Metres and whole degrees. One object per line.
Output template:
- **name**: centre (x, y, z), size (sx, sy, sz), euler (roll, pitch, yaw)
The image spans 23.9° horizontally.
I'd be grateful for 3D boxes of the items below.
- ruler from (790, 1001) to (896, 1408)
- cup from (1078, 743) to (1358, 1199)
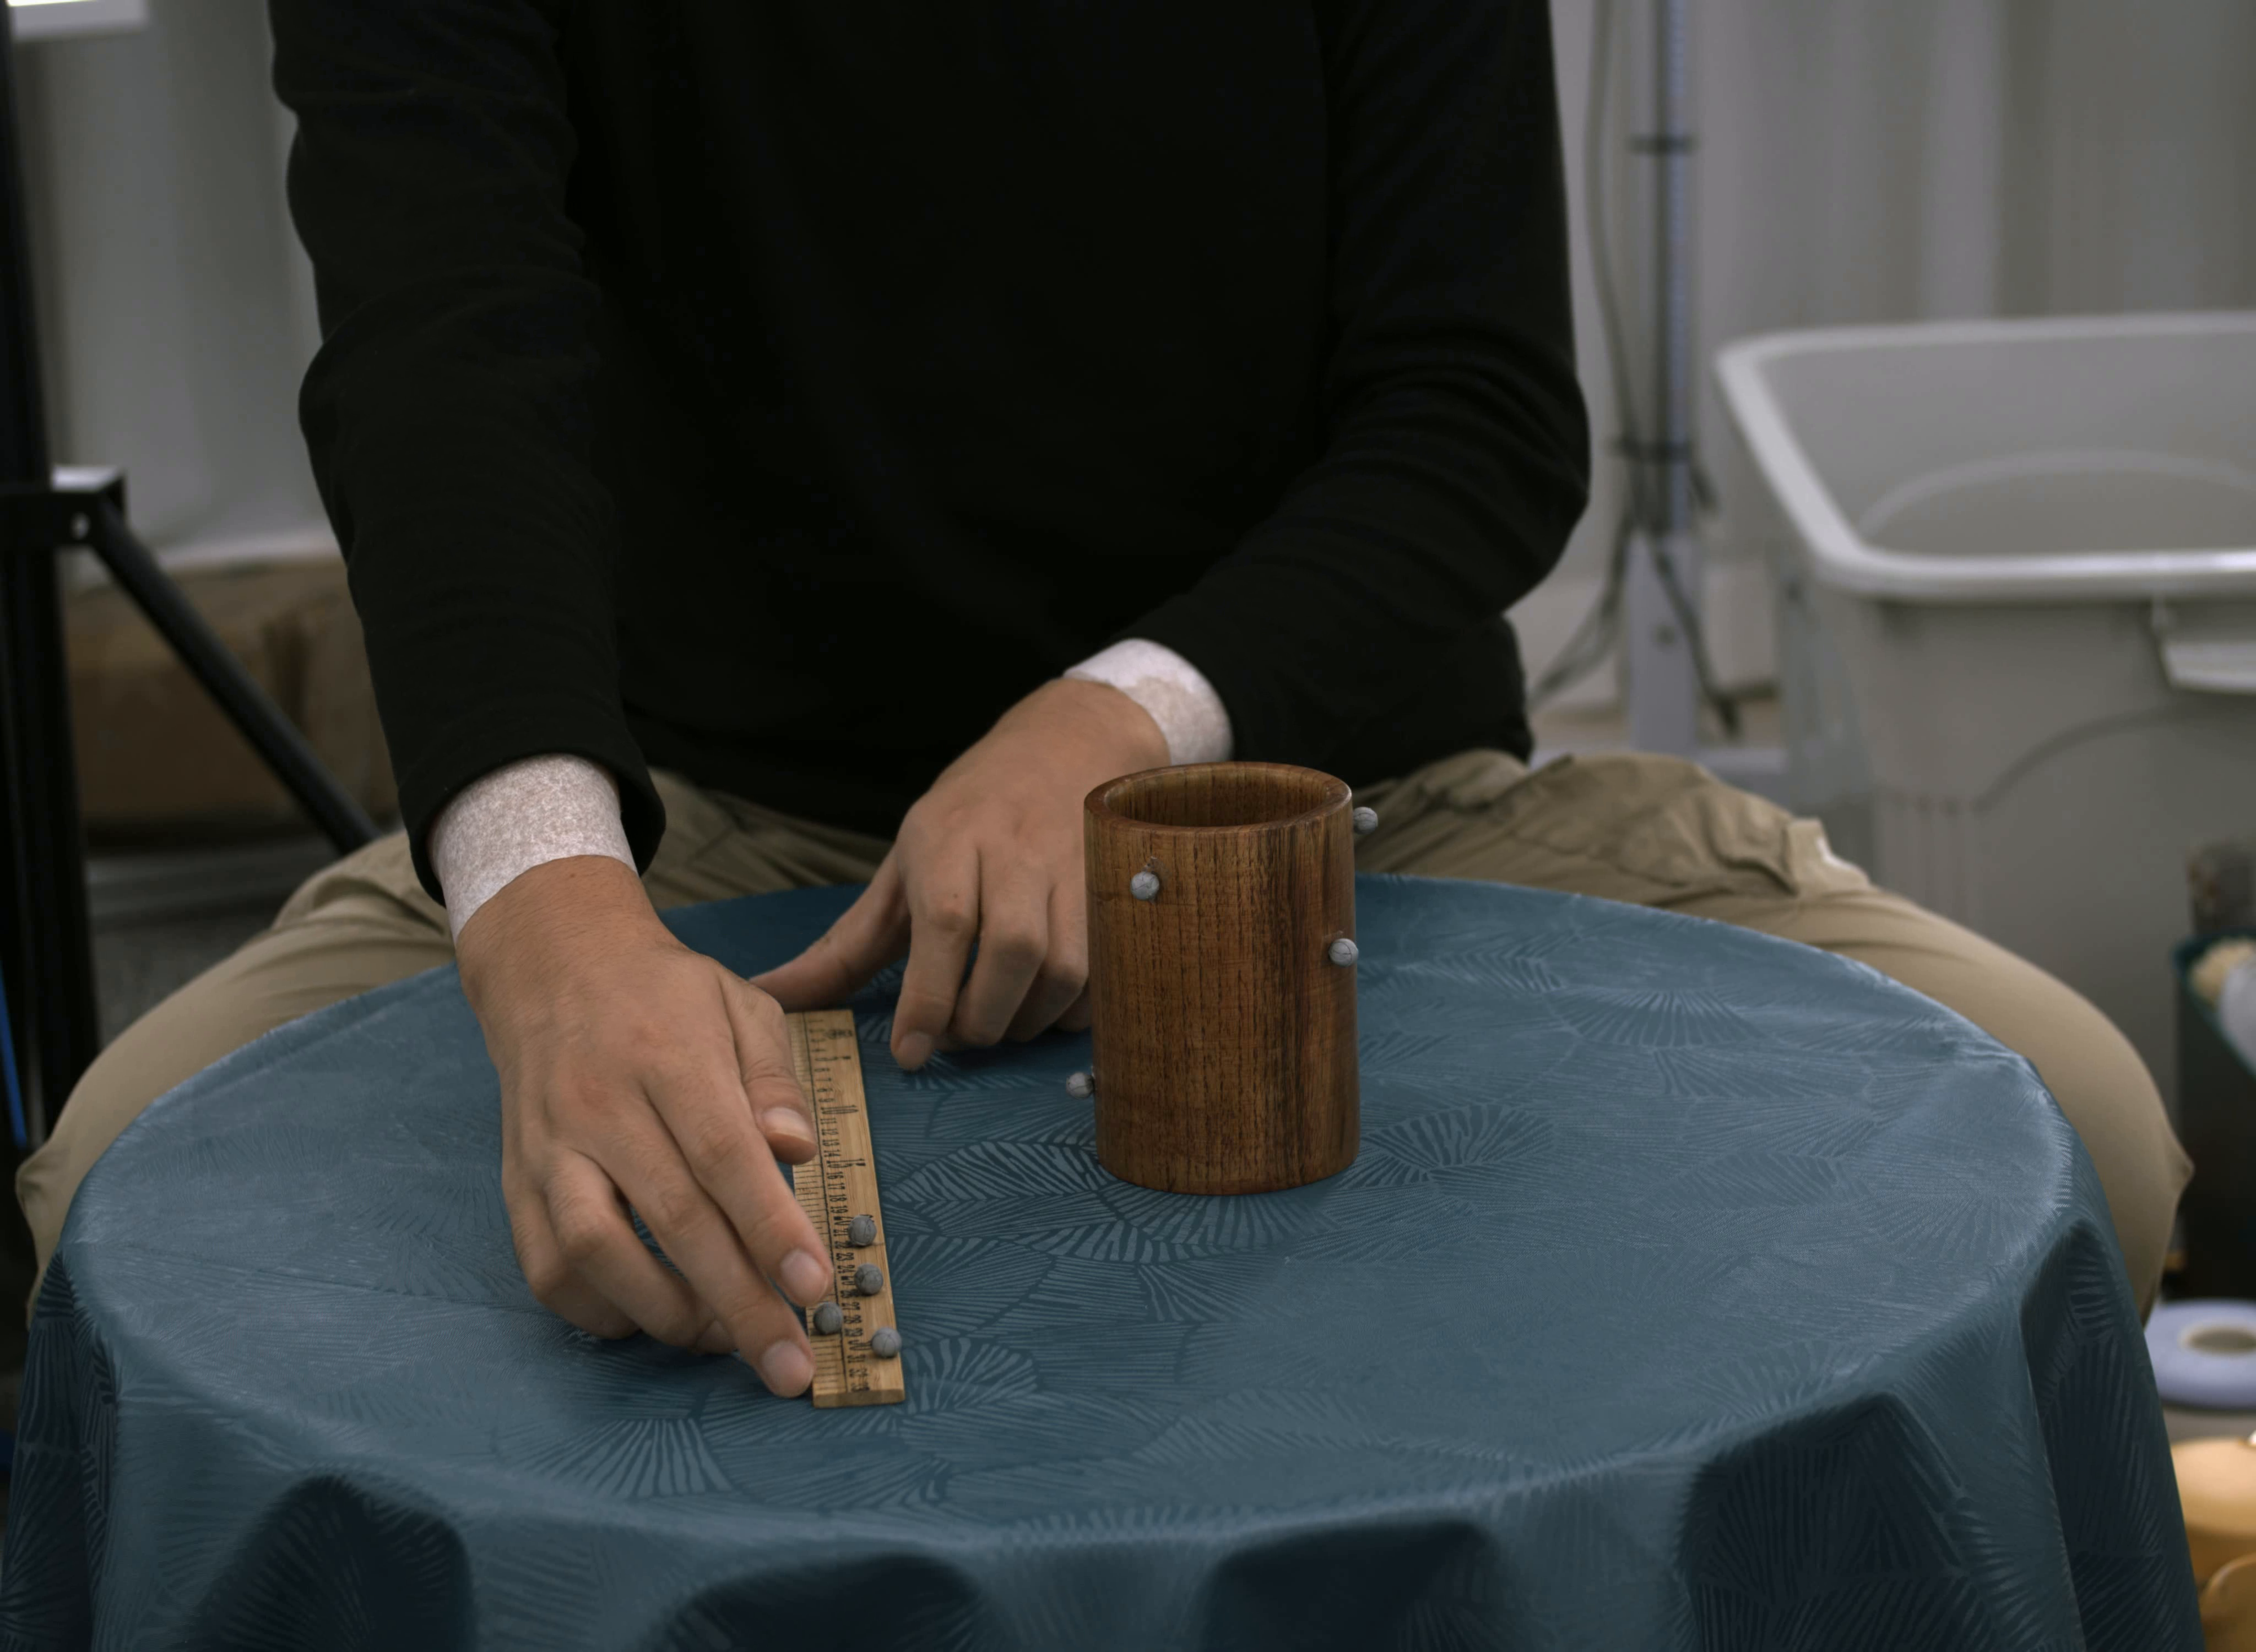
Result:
- **ruler**: centre (-0.085, 0.104, 1.567), size (0.027, 0.022, 0.334), euler (4, 15, -5)
- **cup**: centre (0.027, 0.042, 1.572), size (0.087, 0.118, 0.088), euler (-1, 15, -1)
